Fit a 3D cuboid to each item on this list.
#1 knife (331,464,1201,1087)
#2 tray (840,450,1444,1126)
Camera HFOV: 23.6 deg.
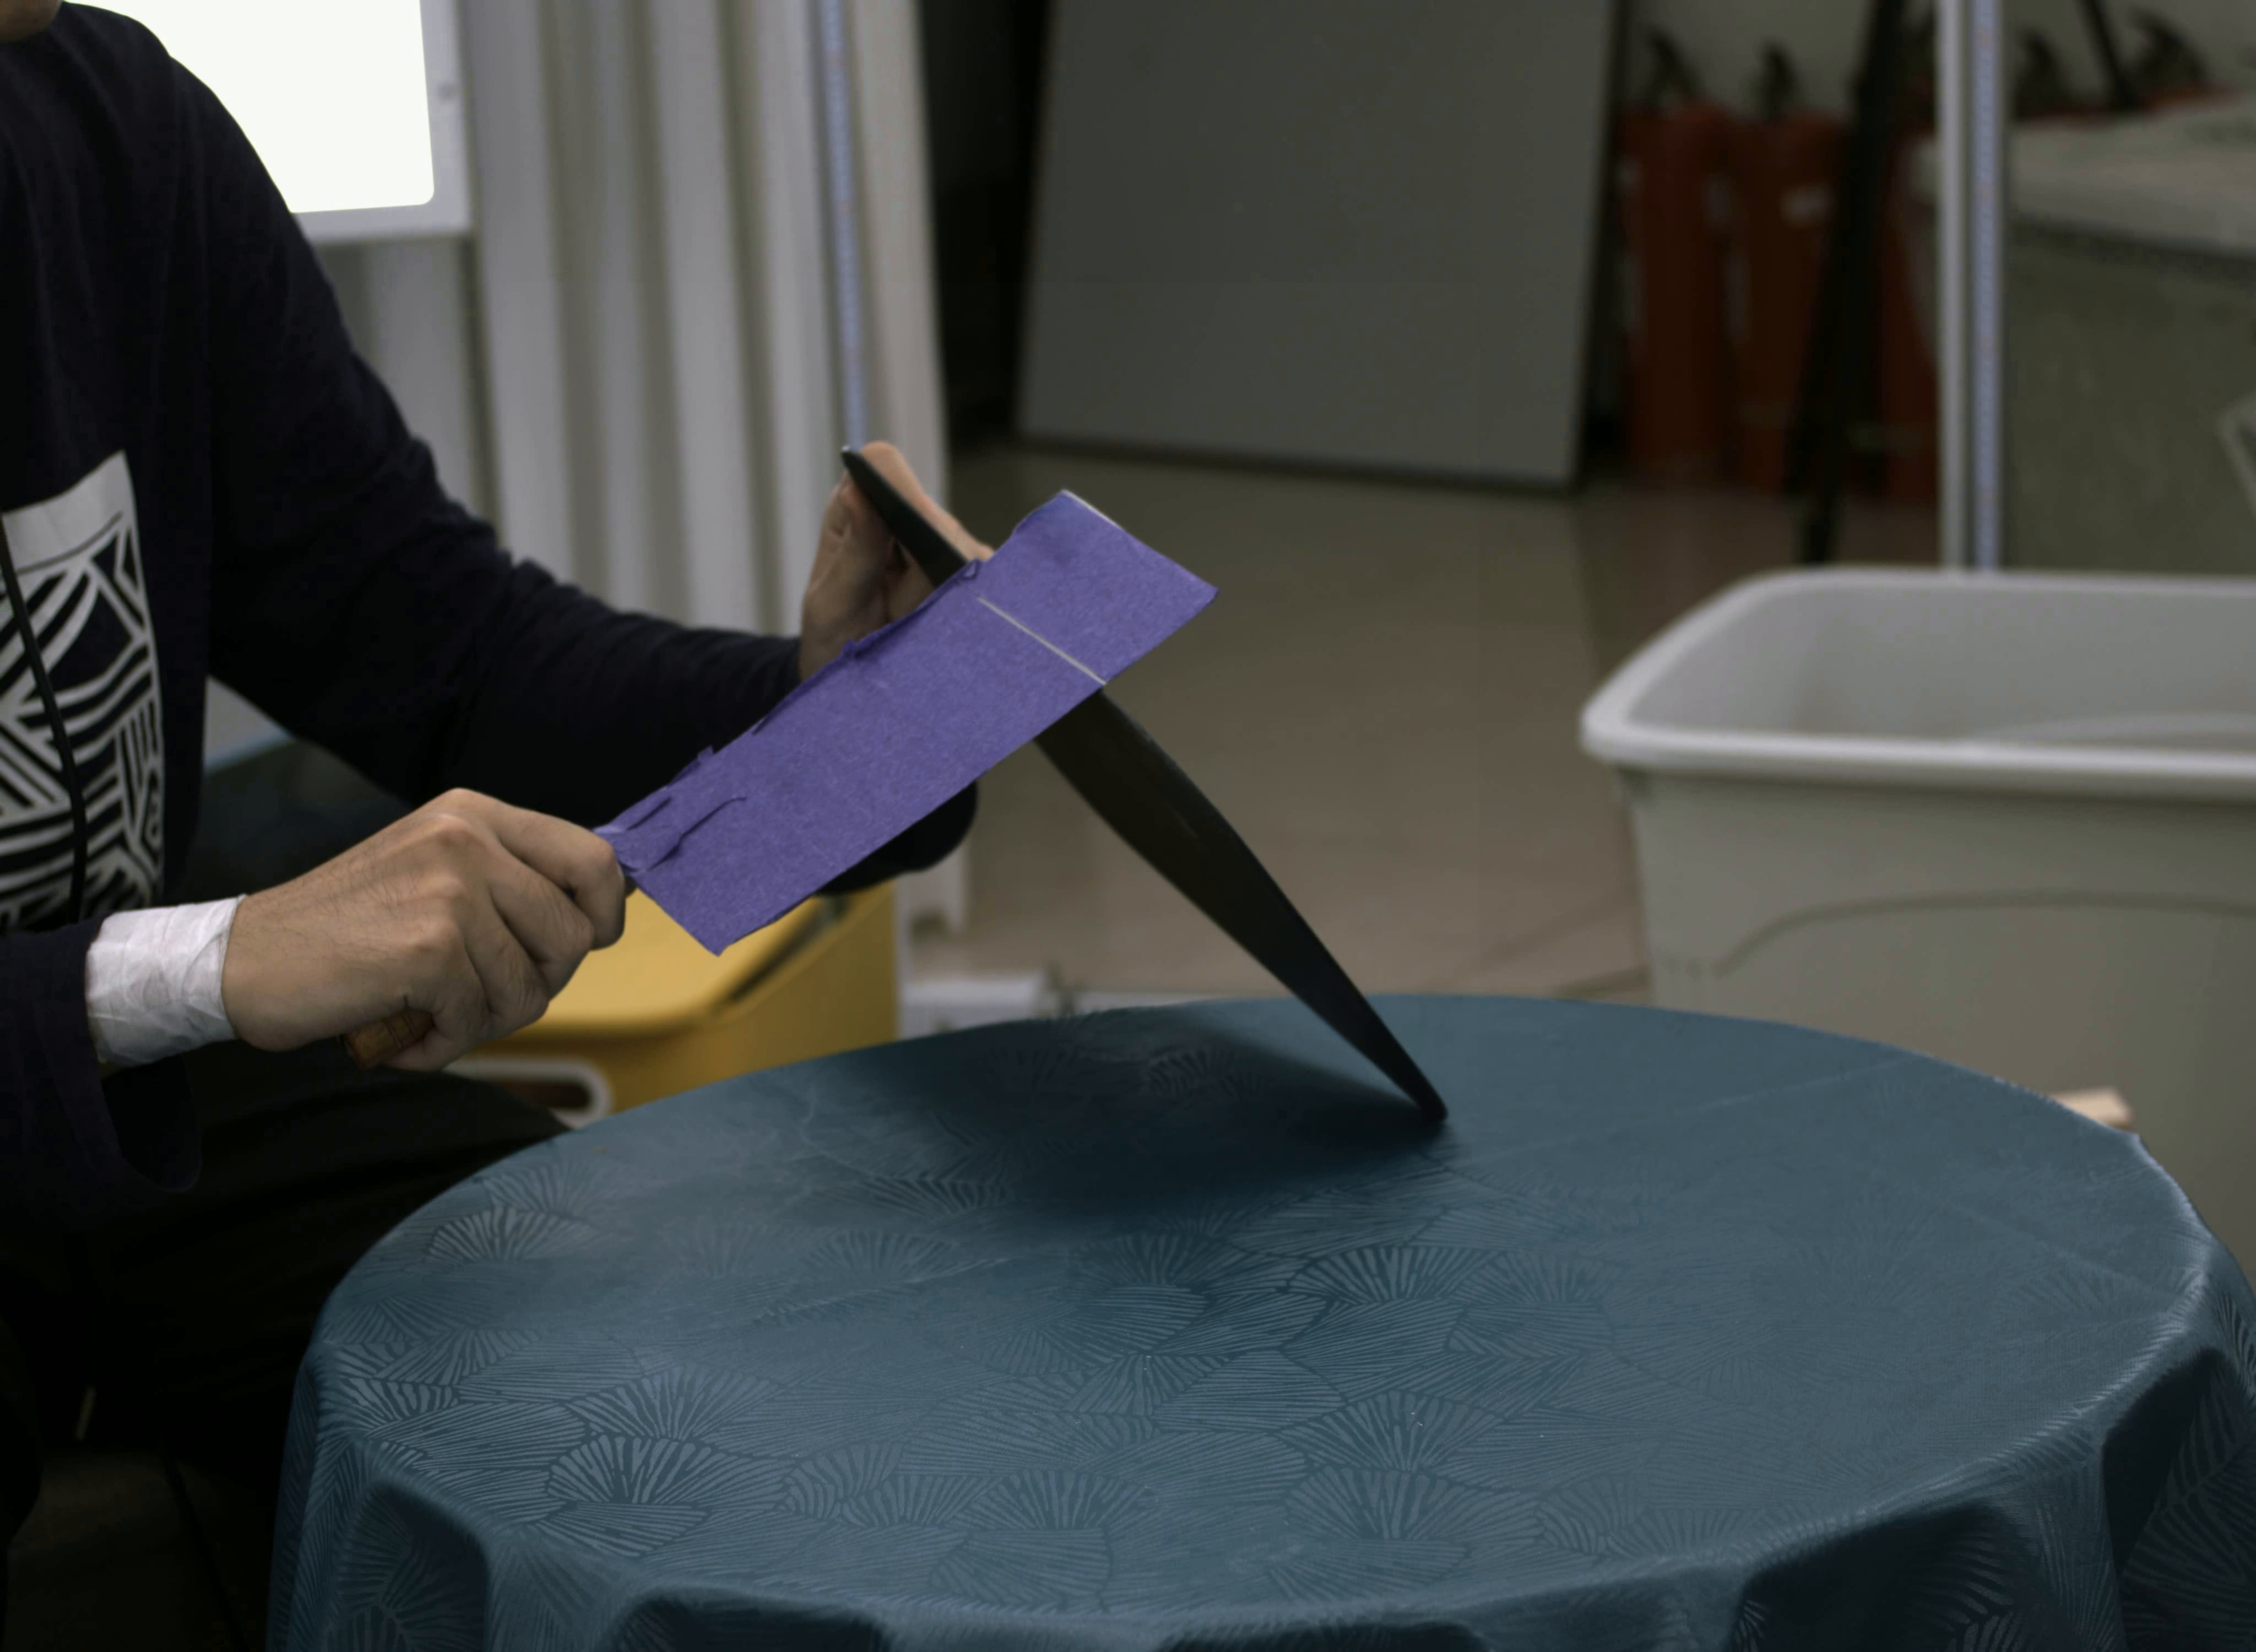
[{"bbox_3d":[-0.114,-0.010,1.748,0.313,0.032,0.105,-39,39,-12],"label":"knife"},{"bbox_3d":[-0.001,-0.021,1.878,0.010,0.209,0.329,-40,35,-5],"label":"tray"}]
